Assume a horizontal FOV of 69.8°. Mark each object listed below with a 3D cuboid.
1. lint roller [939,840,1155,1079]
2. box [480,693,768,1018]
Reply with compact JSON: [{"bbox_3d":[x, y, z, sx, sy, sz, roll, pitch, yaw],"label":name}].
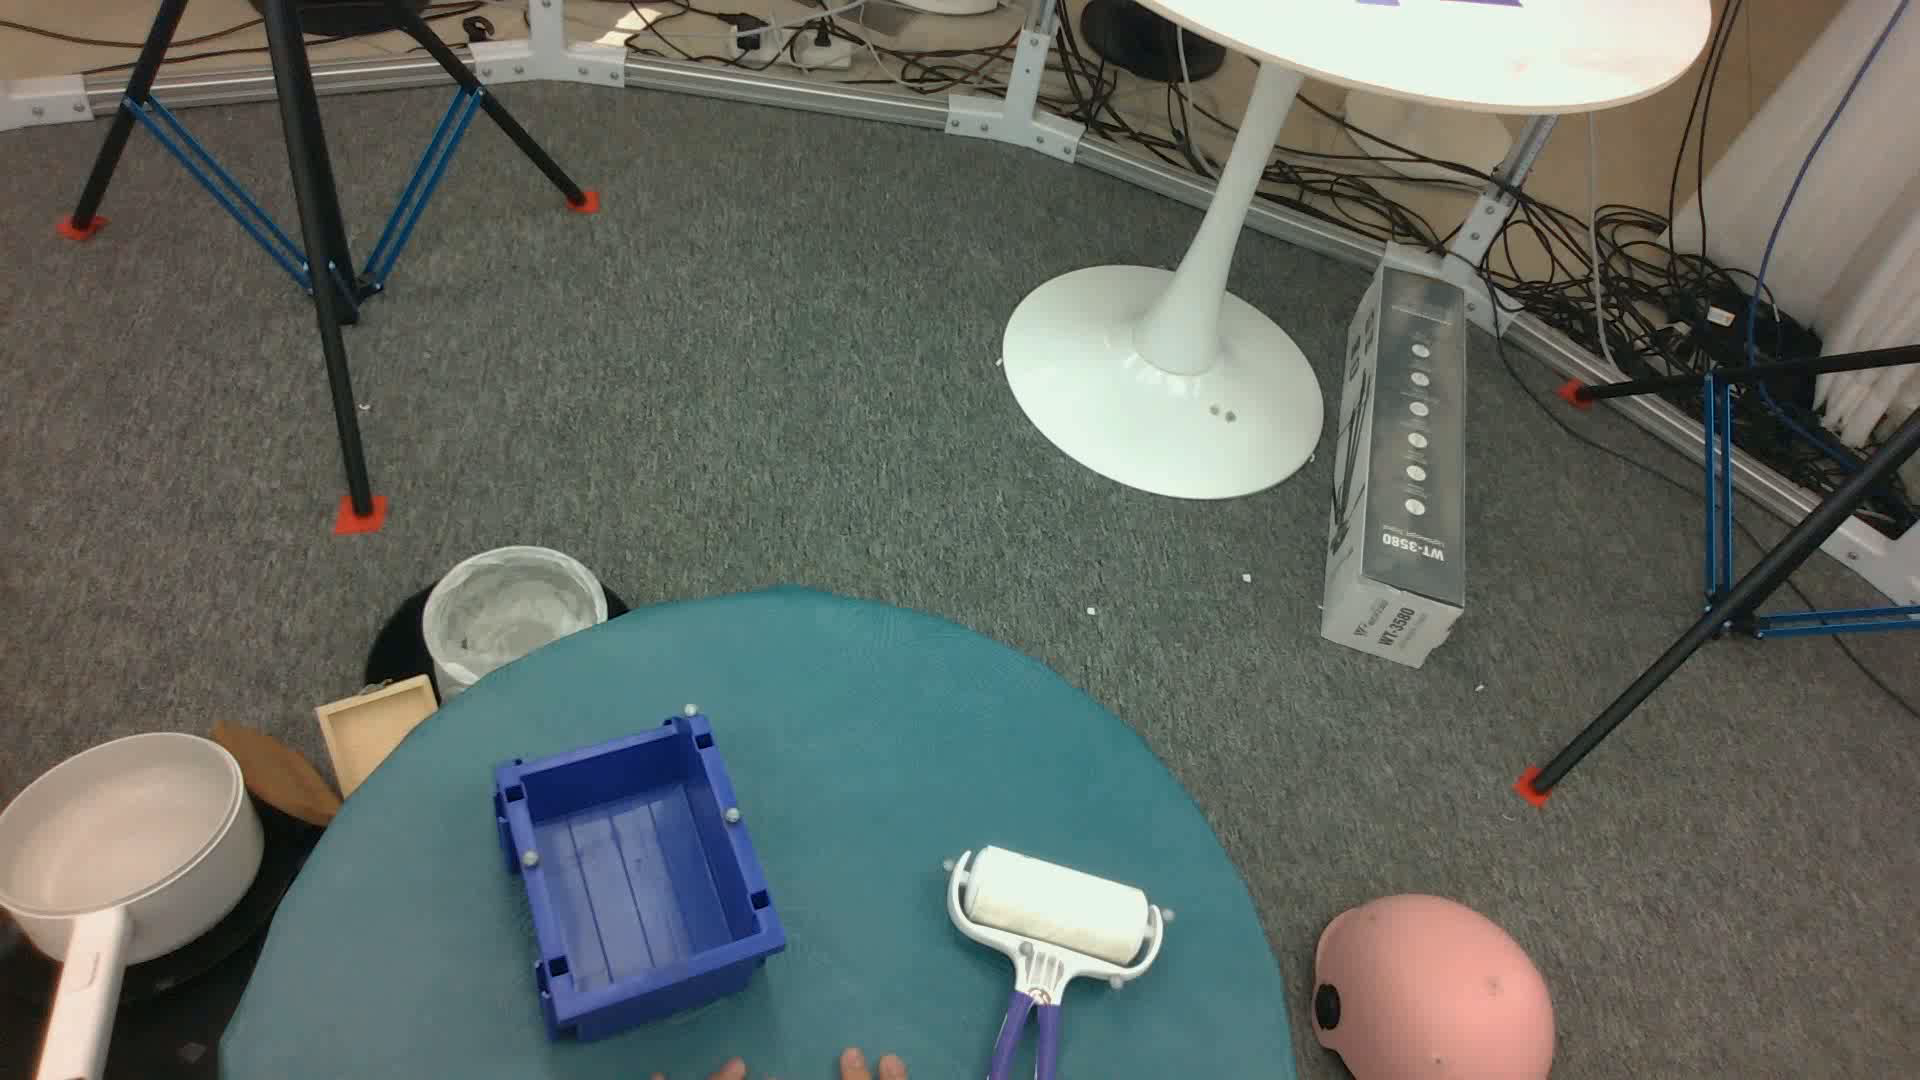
[{"bbox_3d":[0.038,0.266,0.797,0.133,0.050,0.182,18,48,0],"label":"lint roller"},{"bbox_3d":[-0.200,0.174,0.792,0.125,0.081,0.180,-12,58,-22],"label":"box"}]
